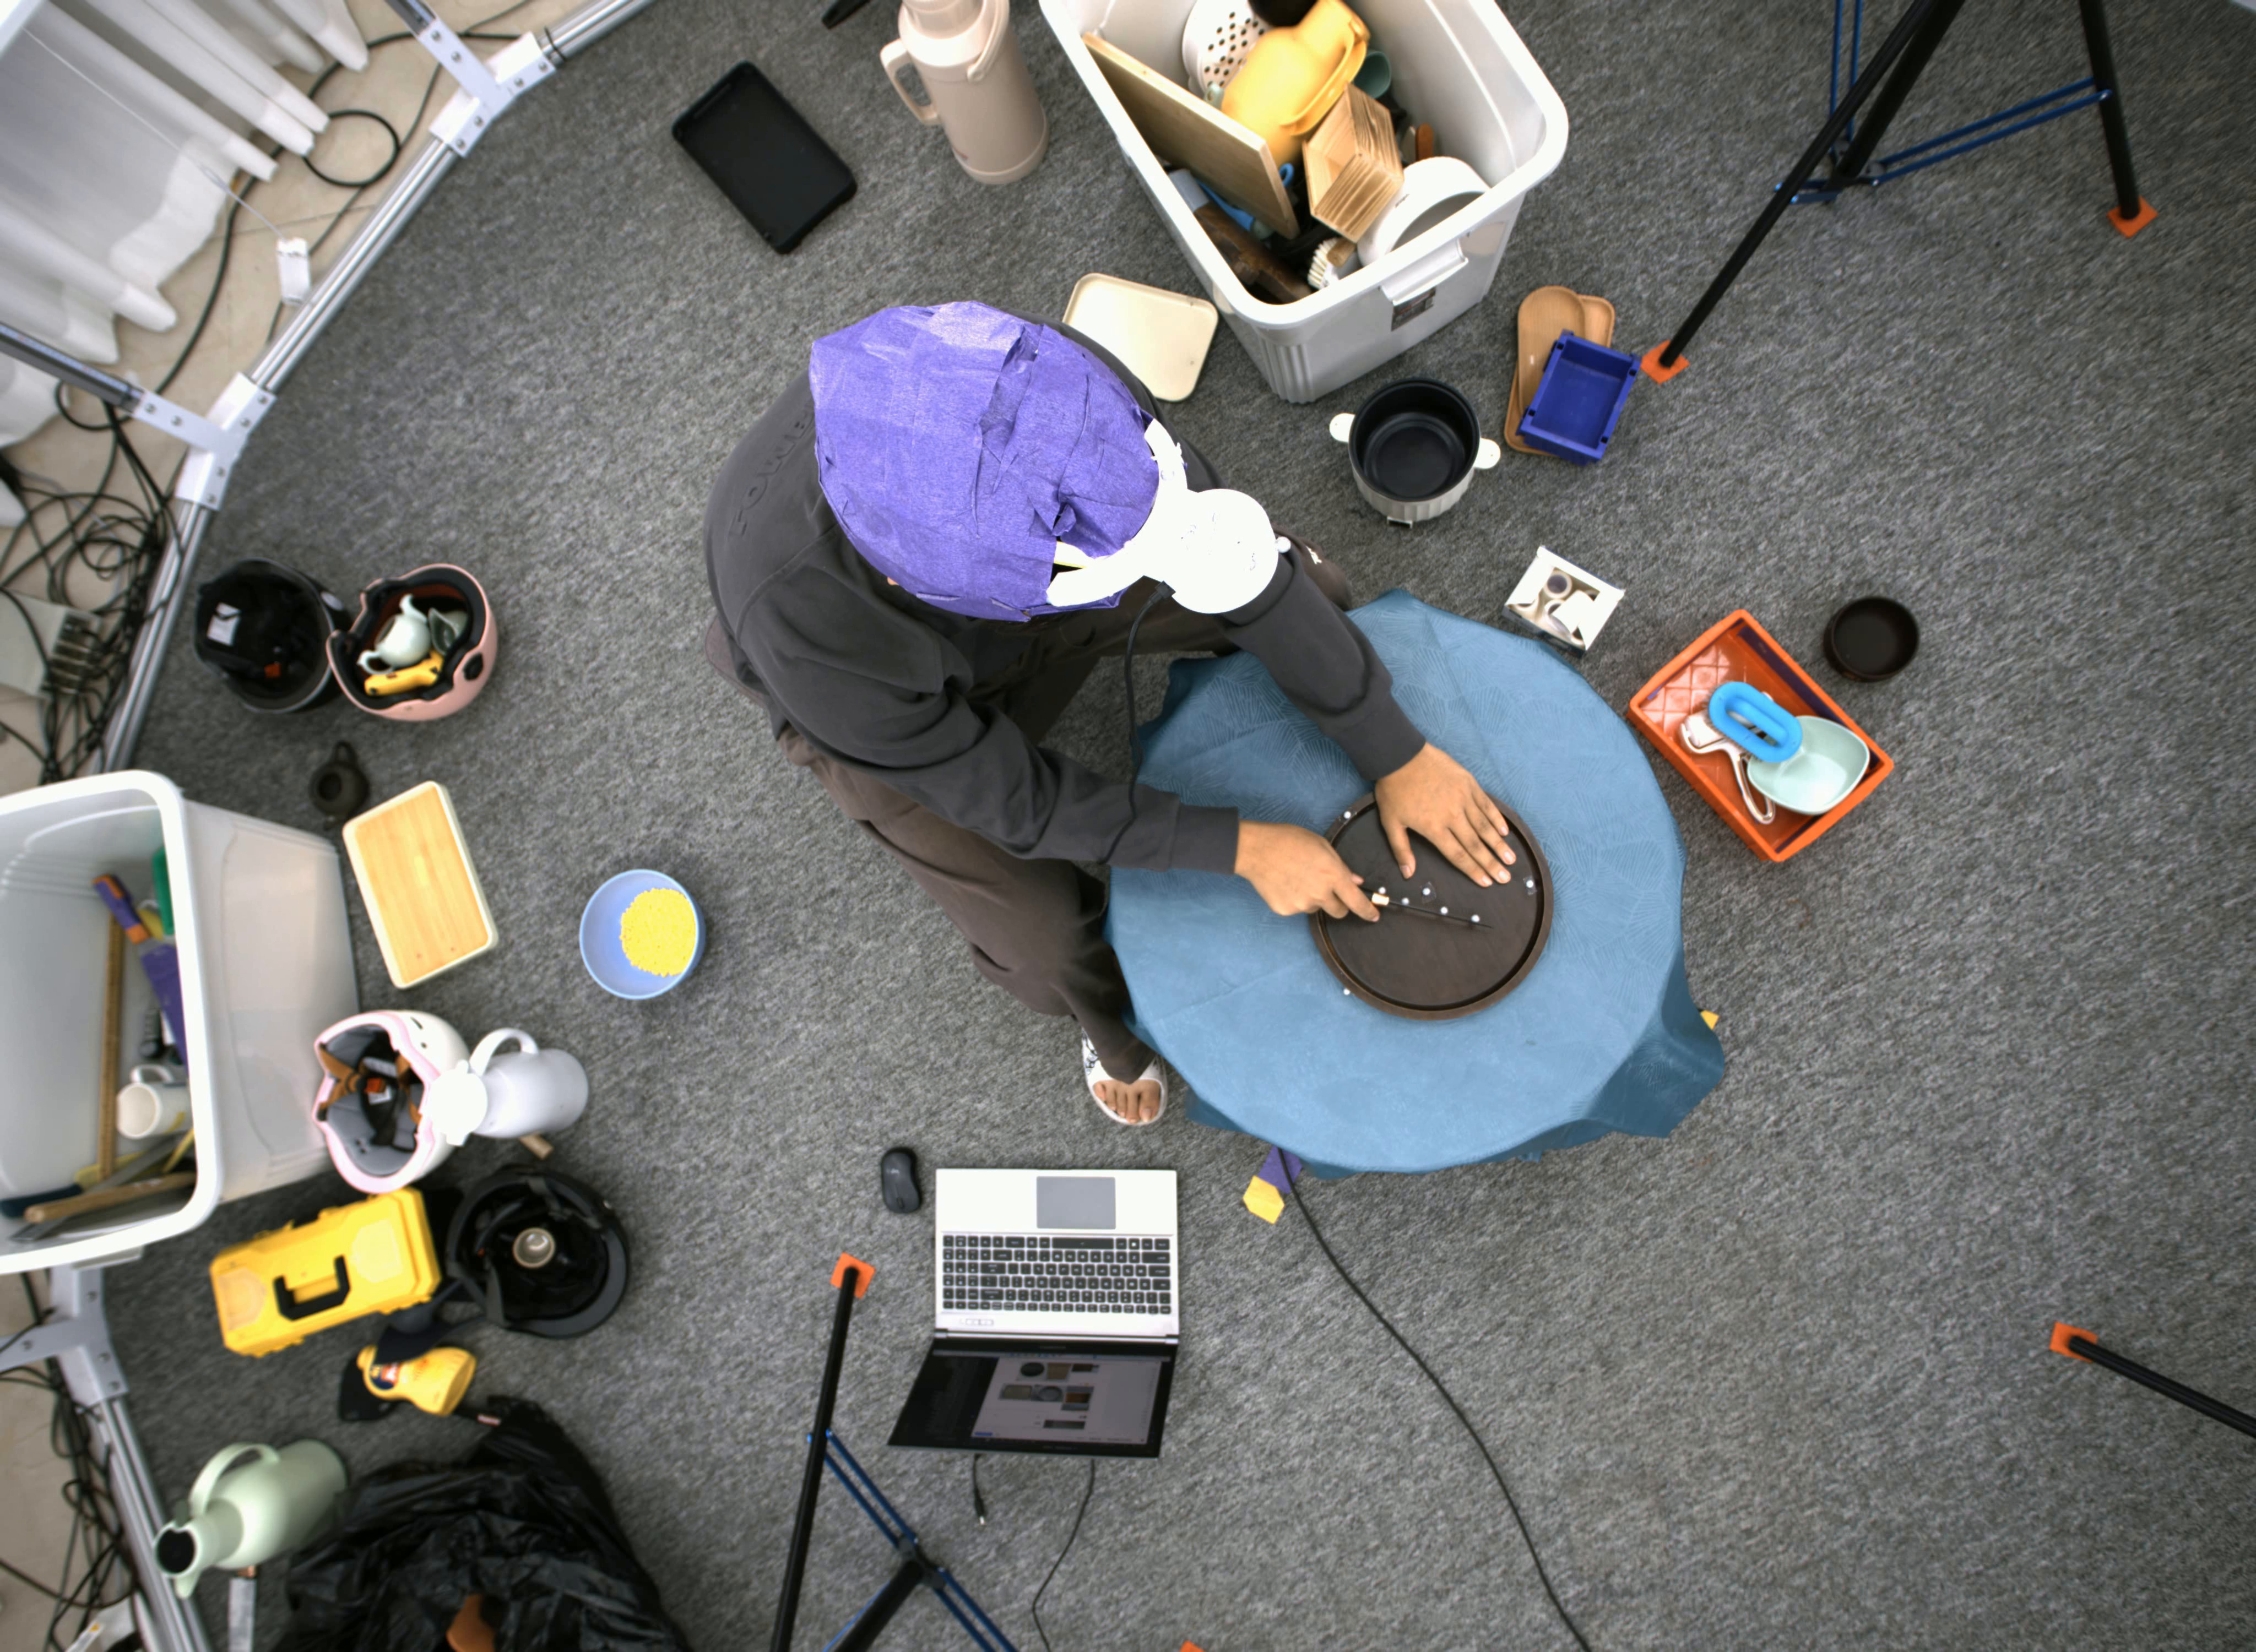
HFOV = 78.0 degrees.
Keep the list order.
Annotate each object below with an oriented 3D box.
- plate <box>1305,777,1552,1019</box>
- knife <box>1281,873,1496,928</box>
[{"bbox_3d":[0.313,0.073,1.441,0.256,0.029,0.253,-1,86,12],"label":"plate"},{"bbox_3d":[0.268,0.077,1.426,0.226,0.026,0.017,12,89,8],"label":"knife"}]
